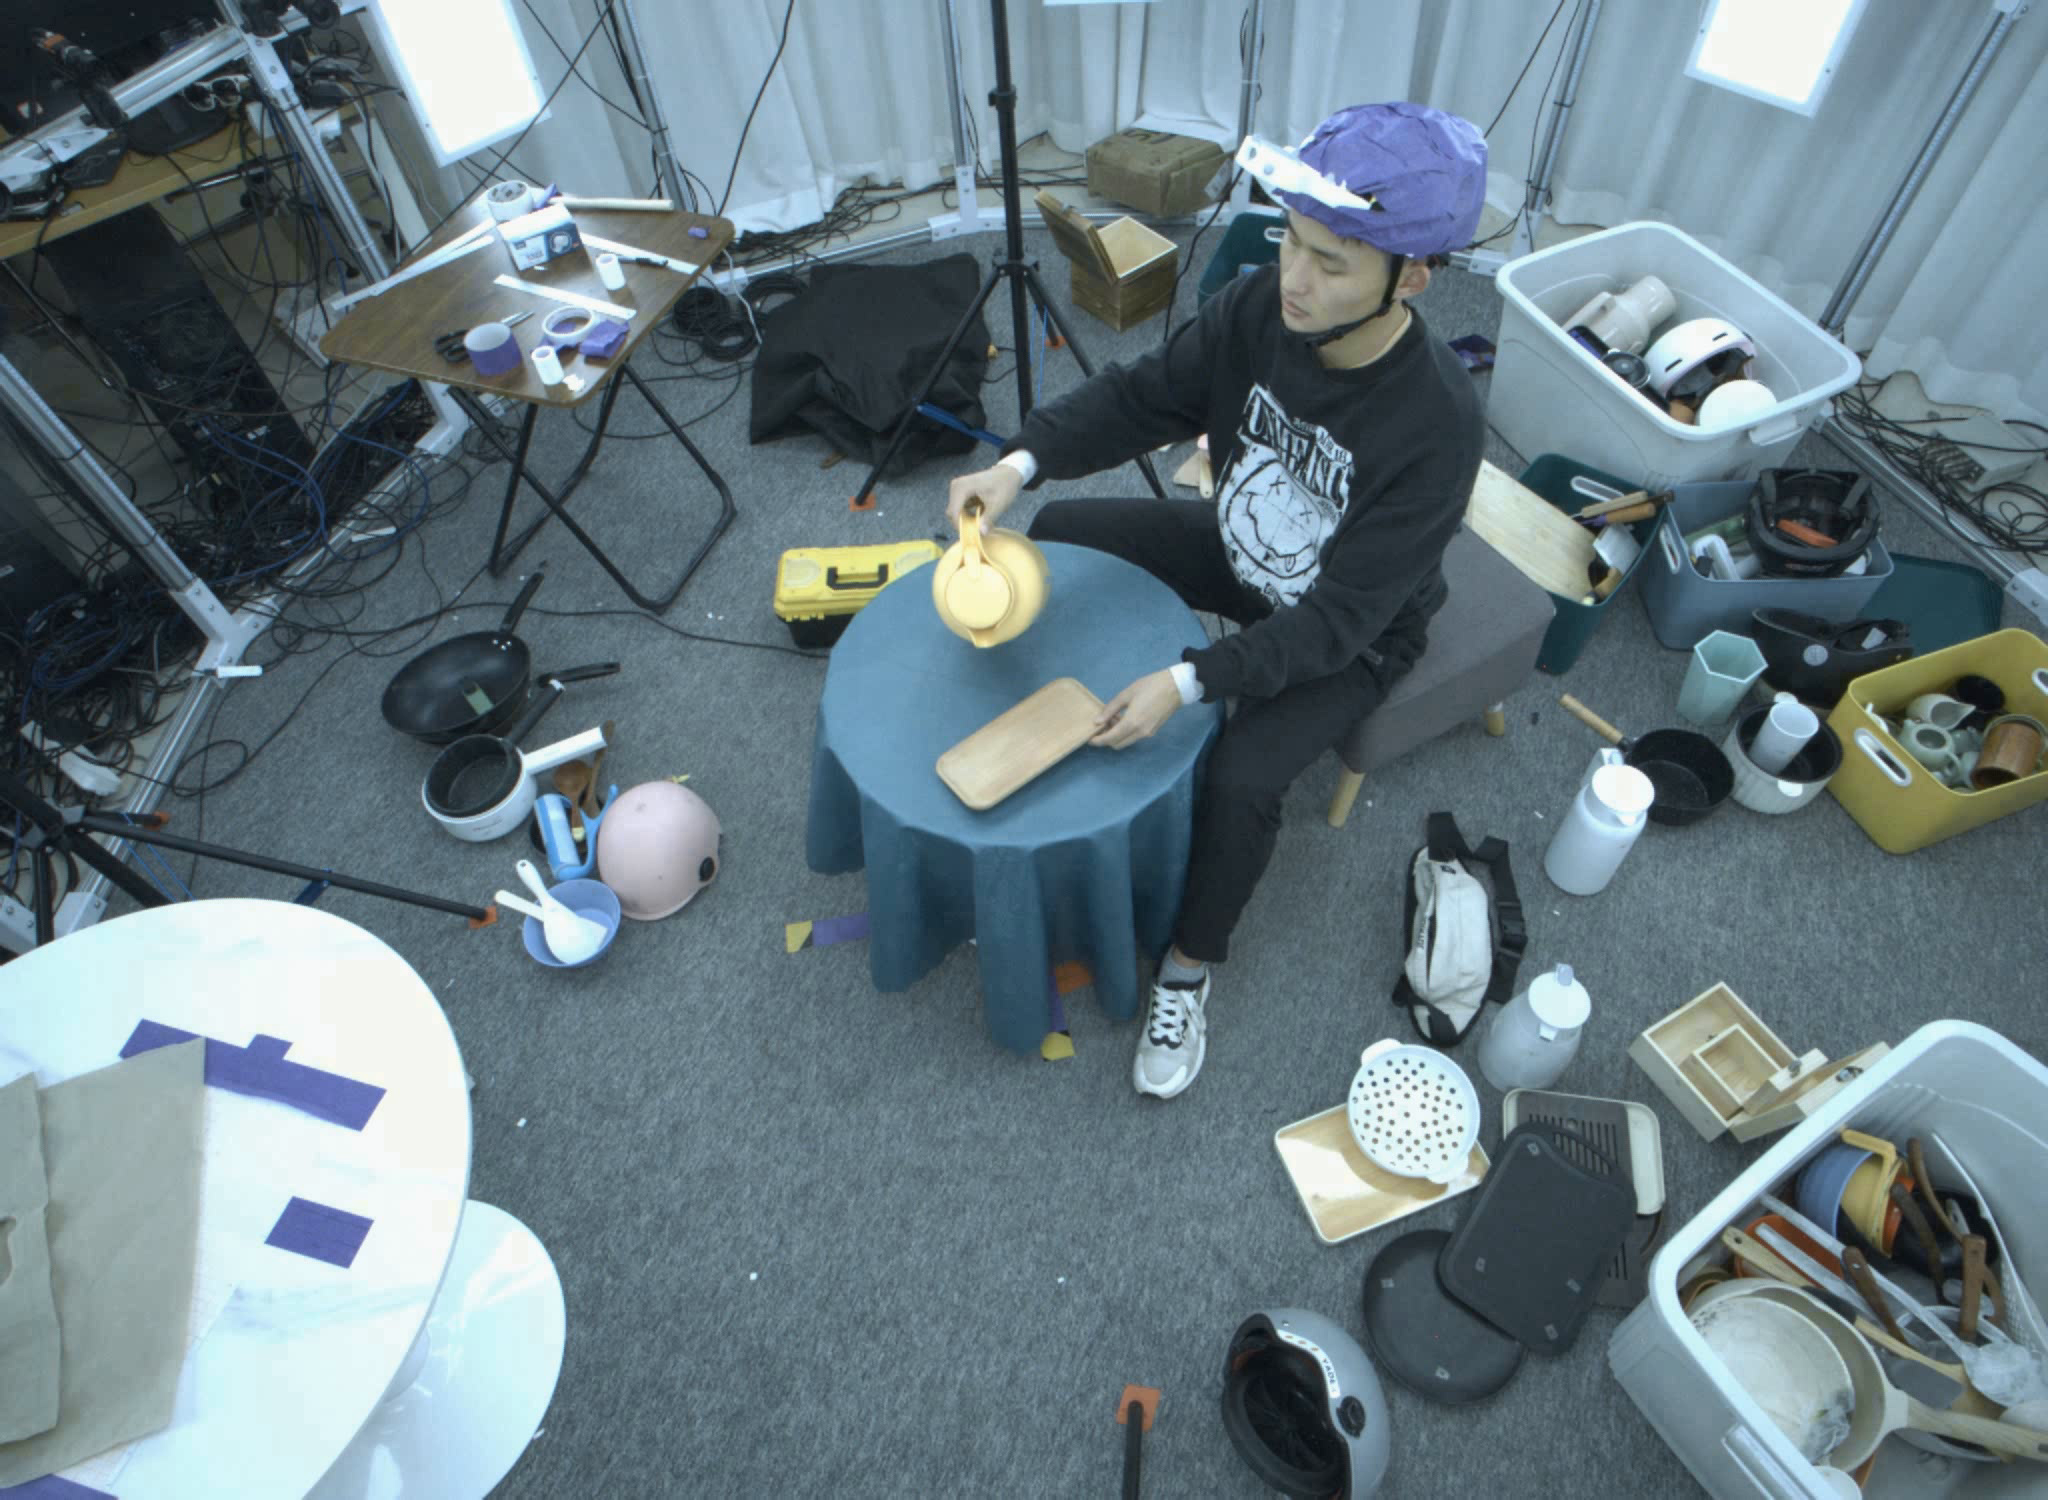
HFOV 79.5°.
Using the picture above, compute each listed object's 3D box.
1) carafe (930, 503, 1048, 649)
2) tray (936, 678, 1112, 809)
[{"bbox_3d":[-0.054,-0.254,1.761,0.163,0.203,0.259,-4,14,4],"label":"carafe"},{"bbox_3d":[0.000,-0.011,1.759,0.252,0.023,0.128,-32,52,-15],"label":"tray"}]
